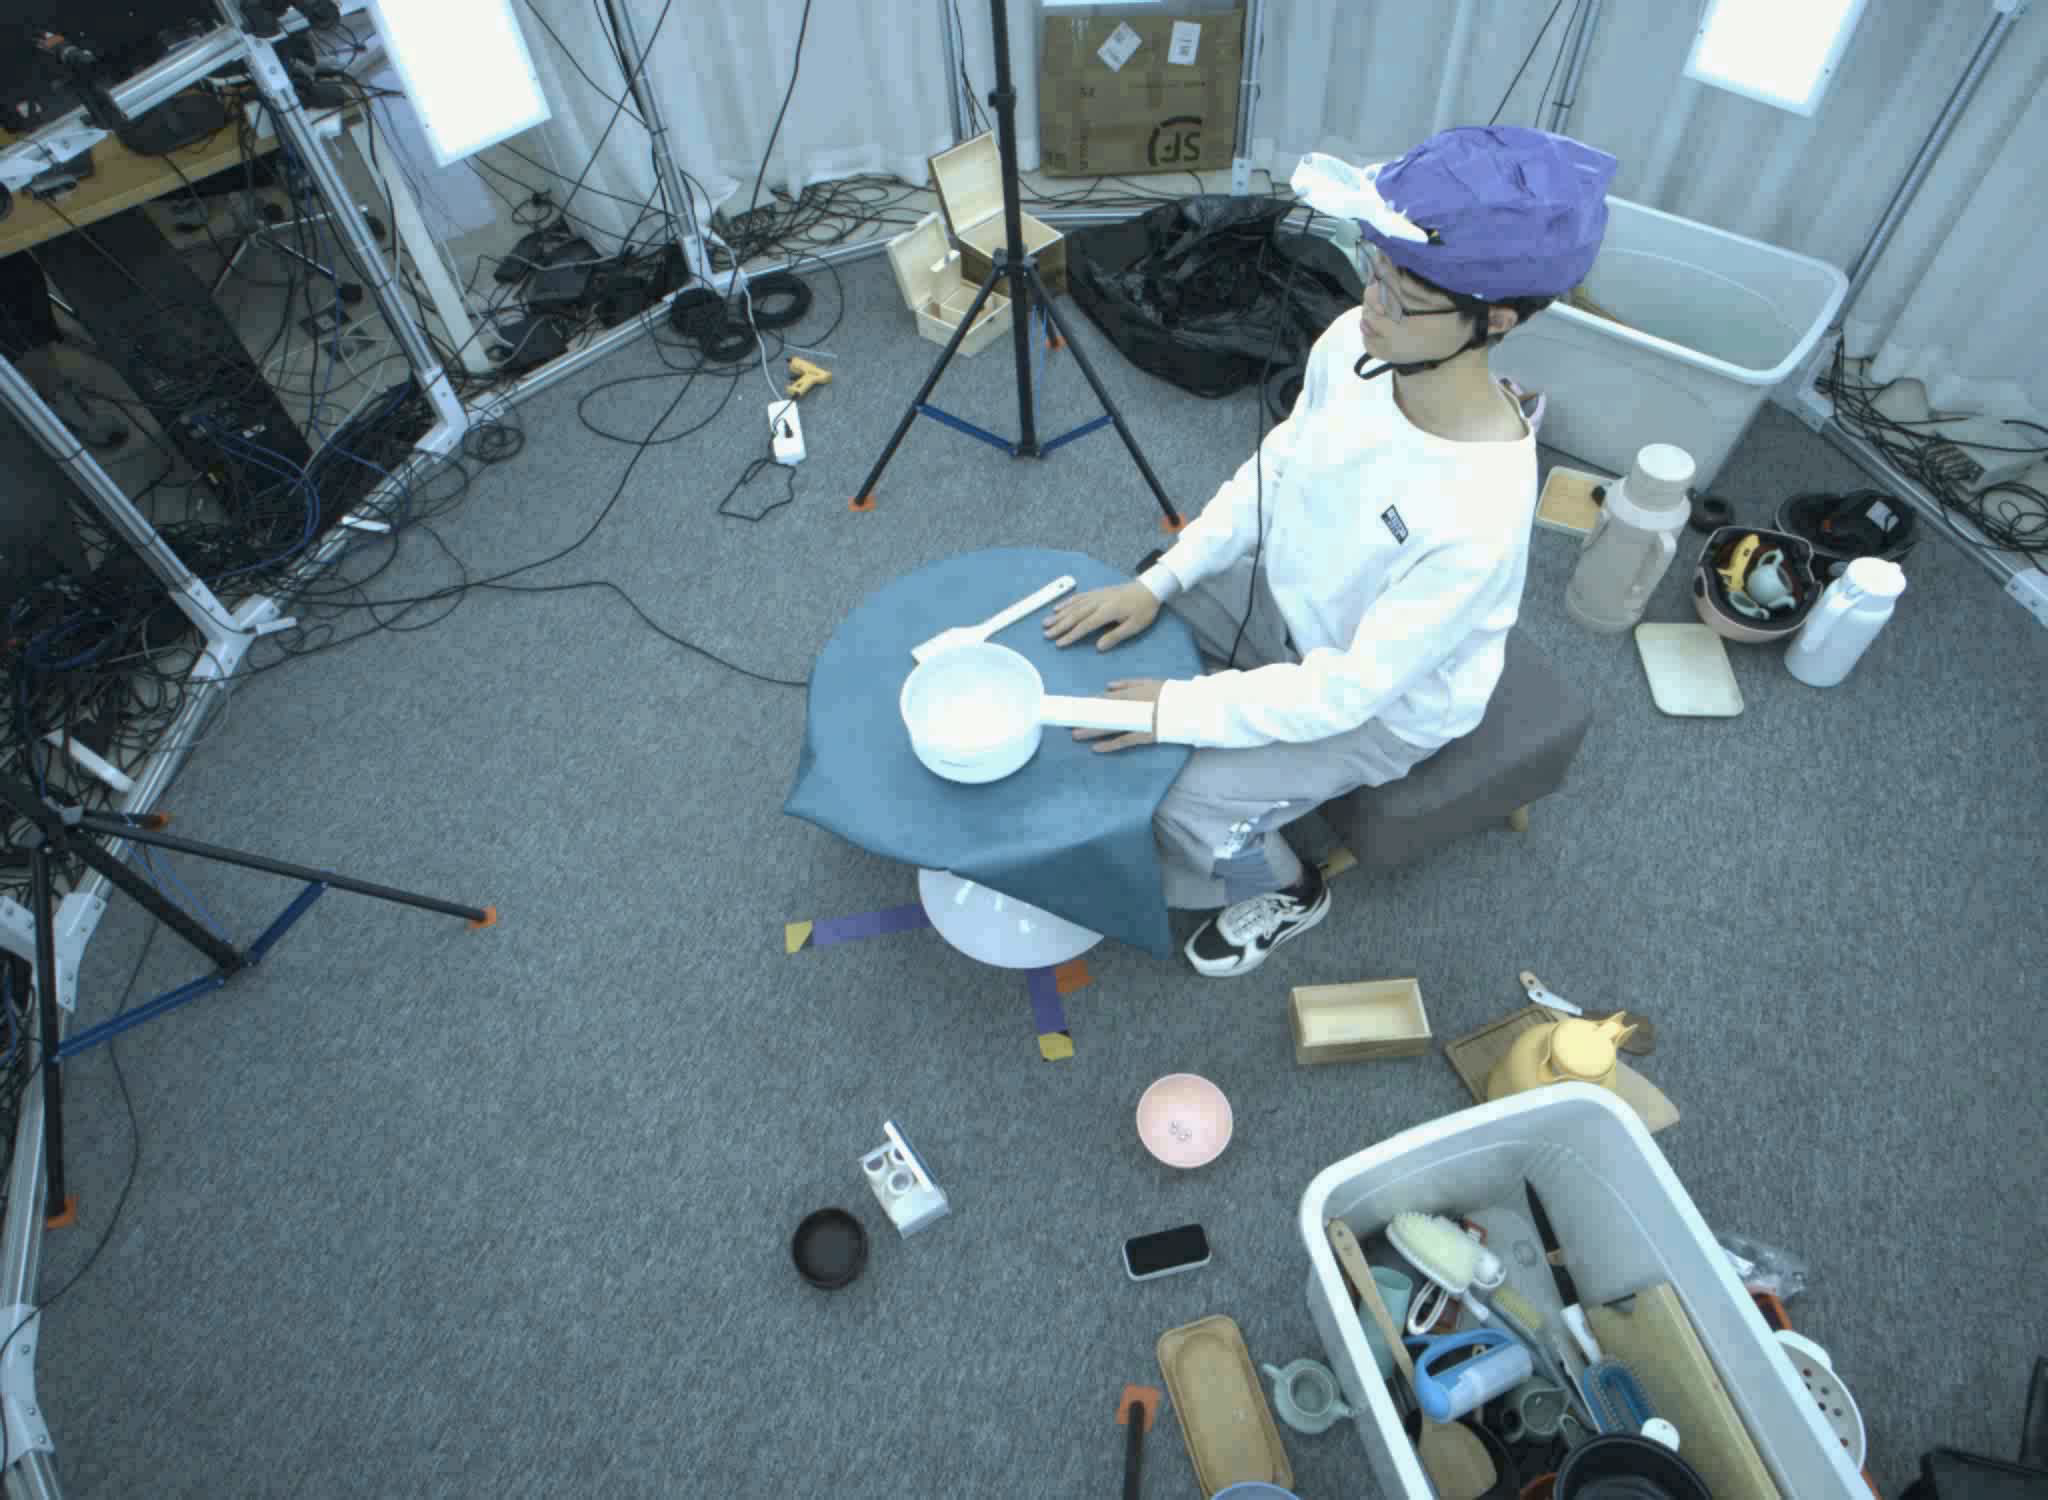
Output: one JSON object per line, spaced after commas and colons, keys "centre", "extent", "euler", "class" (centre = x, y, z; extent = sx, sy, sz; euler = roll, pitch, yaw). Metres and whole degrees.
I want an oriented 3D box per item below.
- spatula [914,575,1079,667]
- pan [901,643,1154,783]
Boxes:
{"centre": [-0.036, -0.203, 1.926], "extent": [0.295, 0.011, 0.071], "euler": [-32, 58, -19], "class": "spatula"}
{"centre": [0.006, -0.041, 1.754], "extent": [0.354, 0.103, 0.200], "euler": [6, 54, 4], "class": "pan"}
